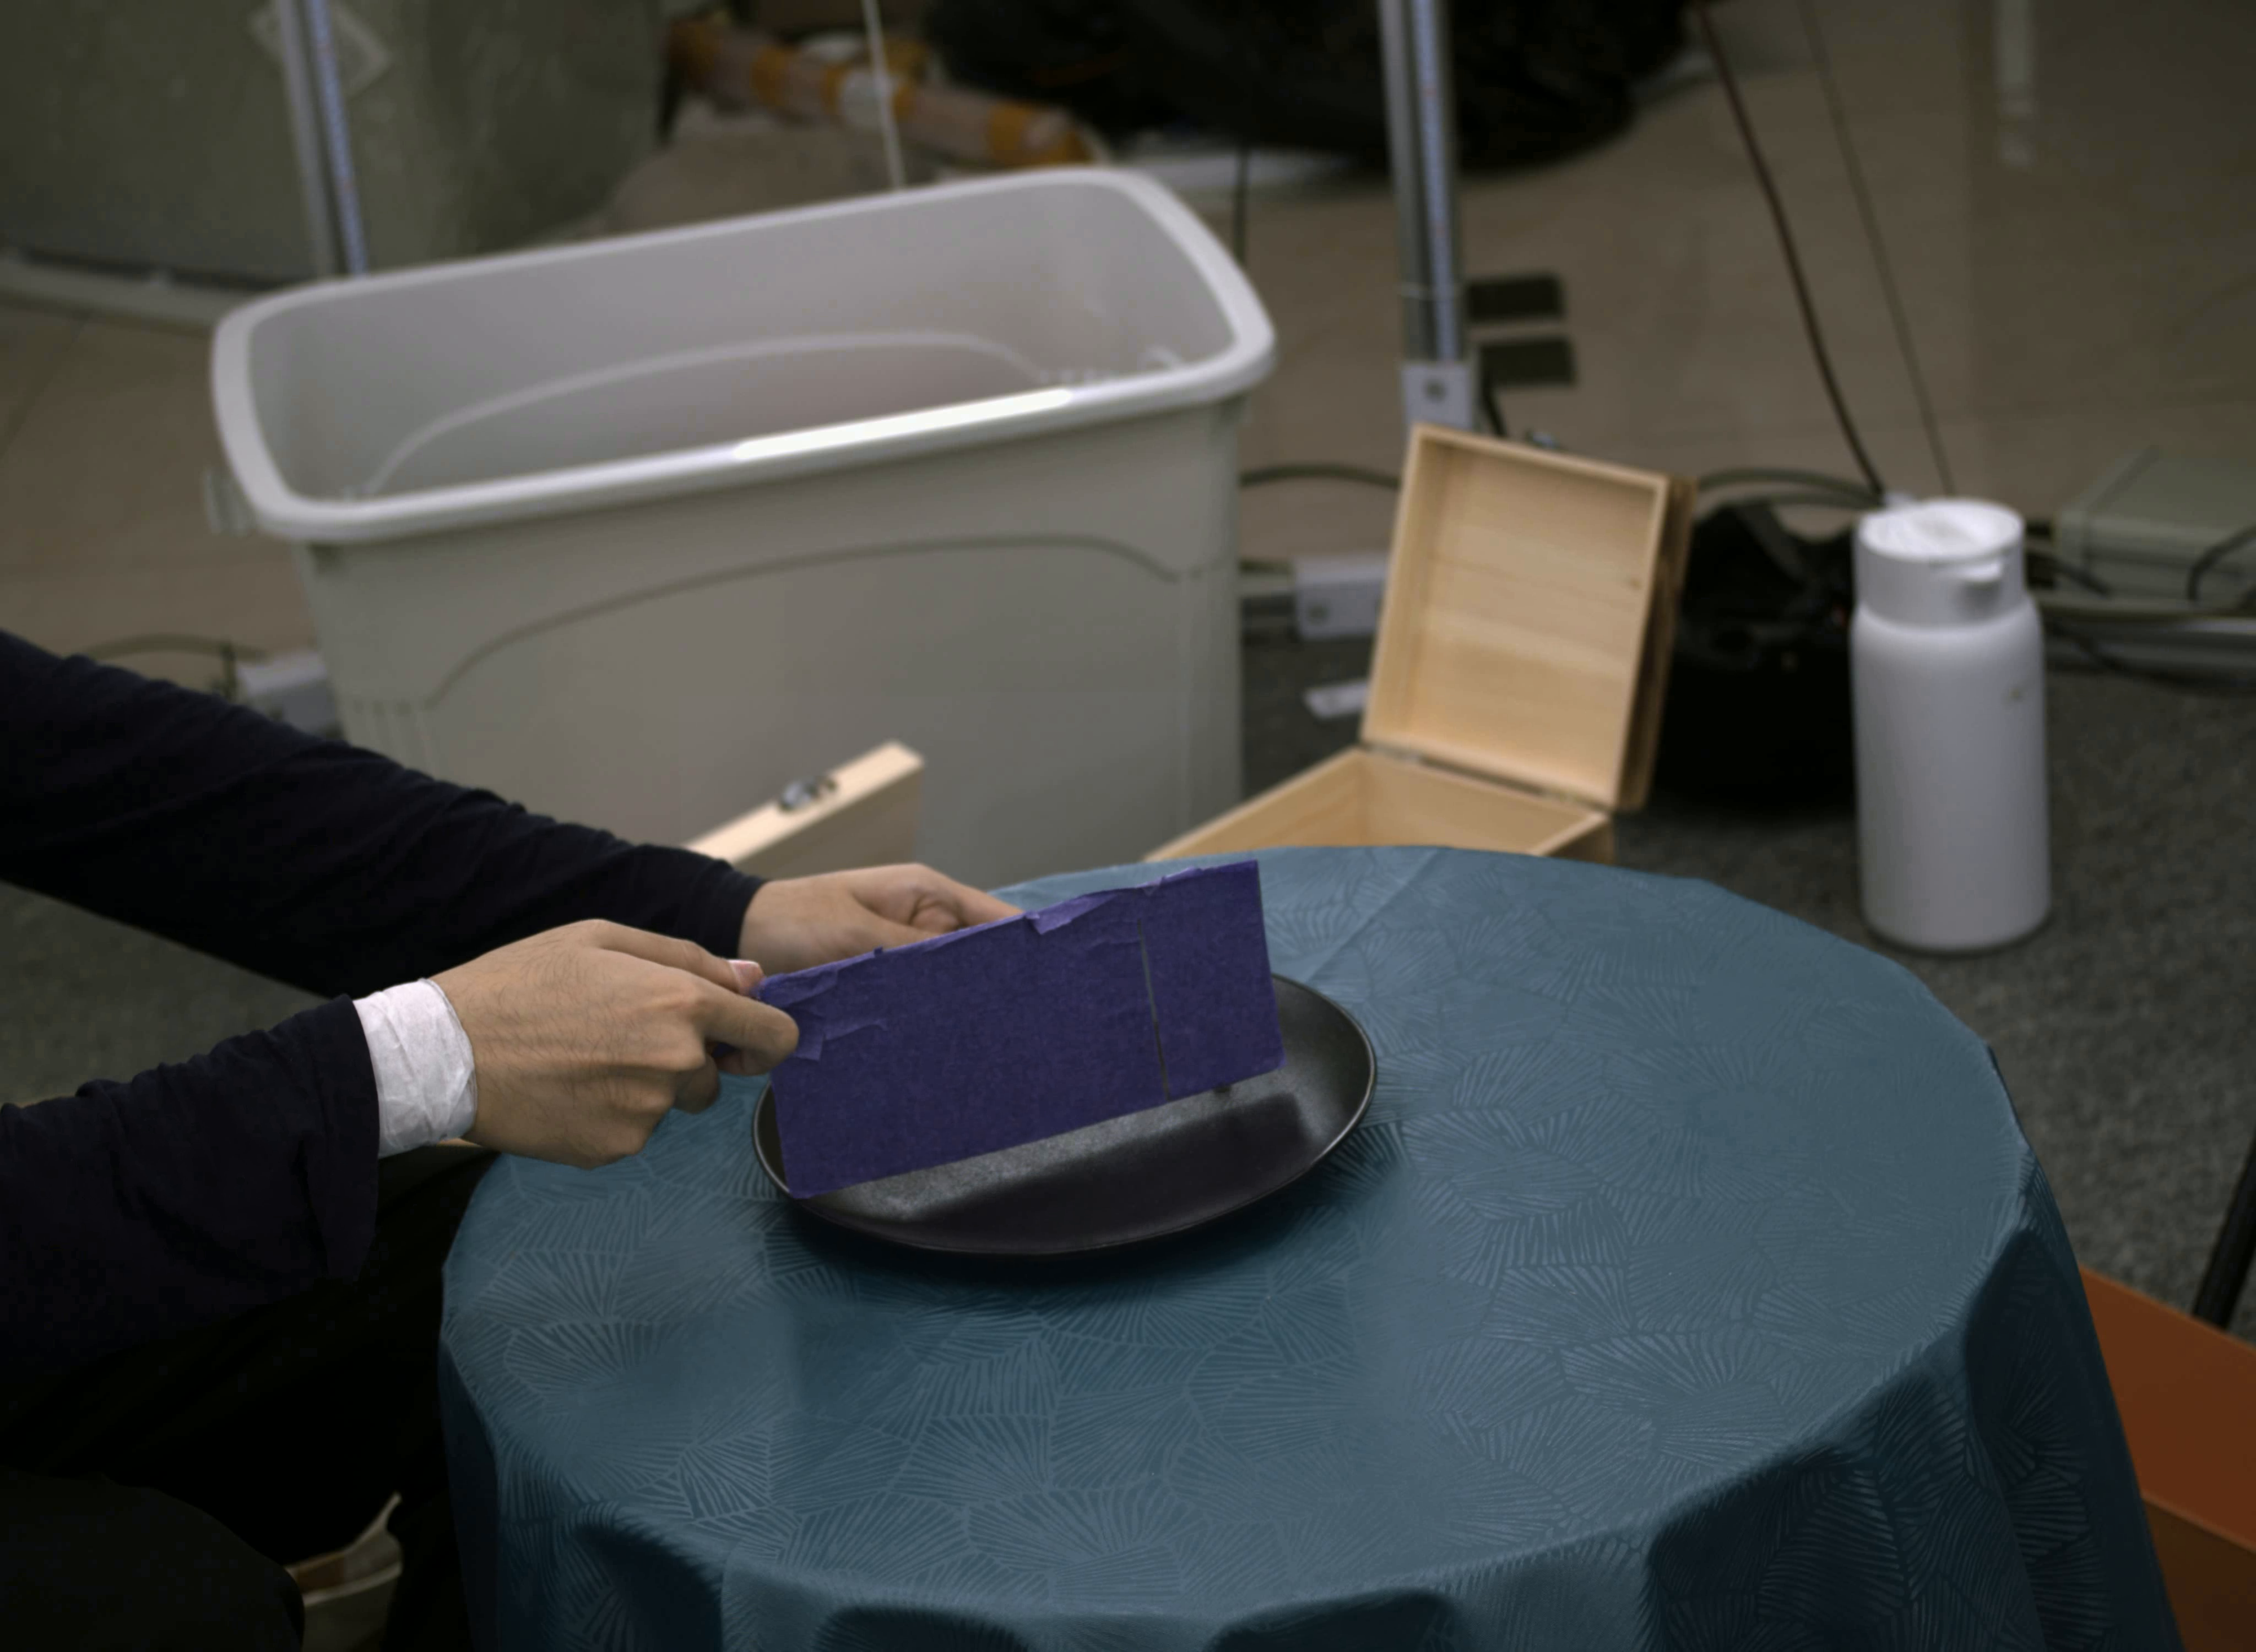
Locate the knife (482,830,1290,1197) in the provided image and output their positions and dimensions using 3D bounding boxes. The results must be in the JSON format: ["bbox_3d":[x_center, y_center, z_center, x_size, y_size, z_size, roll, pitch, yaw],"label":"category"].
[{"bbox_3d":[-0.083,0.087,2.126,0.314,0.105,0.032,-14,20,-17],"label":"knife"}]

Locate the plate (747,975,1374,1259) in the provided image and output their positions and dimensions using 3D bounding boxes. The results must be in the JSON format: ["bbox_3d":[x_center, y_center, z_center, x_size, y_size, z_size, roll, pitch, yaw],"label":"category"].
[{"bbox_3d":[-0.026,0.113,2.185,0.244,0.024,0.241,-5,25,2],"label":"plate"}]
